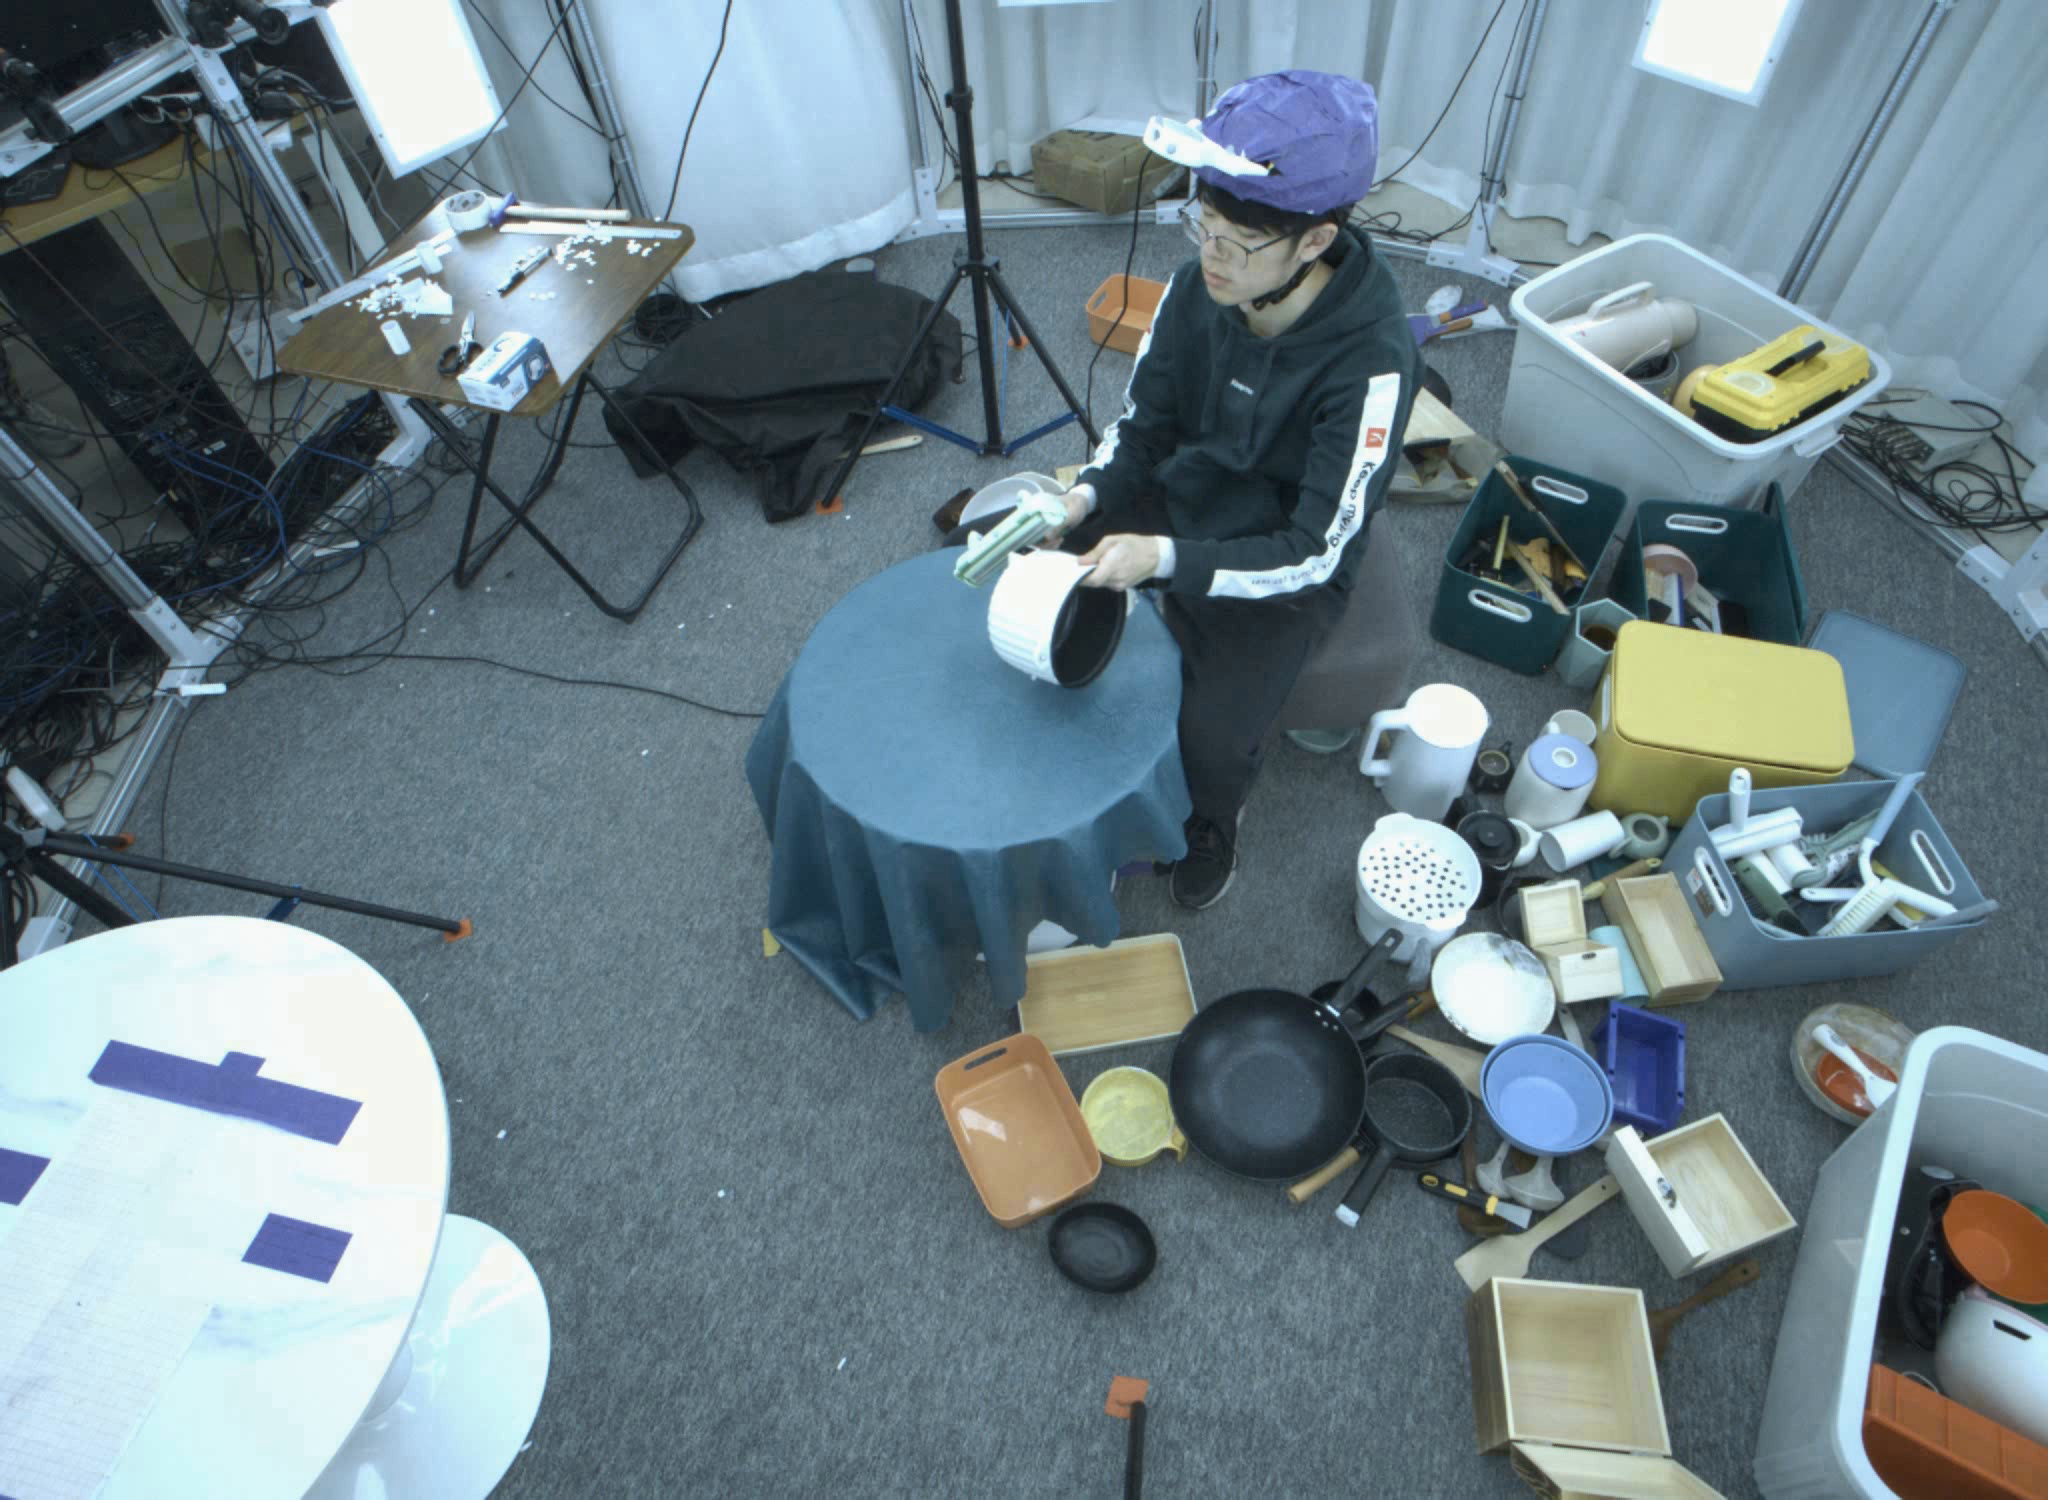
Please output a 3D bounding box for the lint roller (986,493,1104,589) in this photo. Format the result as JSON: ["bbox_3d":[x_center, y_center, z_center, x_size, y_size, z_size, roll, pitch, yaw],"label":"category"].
[{"bbox_3d":[0.051,-0.327,1.805,0.082,0.196,0.185,55,42,-6],"label":"lint roller"}]

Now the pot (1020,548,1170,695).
[{"bbox_3d":[0.088,-0.181,1.745,0.139,0.192,0.243,23,40,34],"label":"pot"}]
